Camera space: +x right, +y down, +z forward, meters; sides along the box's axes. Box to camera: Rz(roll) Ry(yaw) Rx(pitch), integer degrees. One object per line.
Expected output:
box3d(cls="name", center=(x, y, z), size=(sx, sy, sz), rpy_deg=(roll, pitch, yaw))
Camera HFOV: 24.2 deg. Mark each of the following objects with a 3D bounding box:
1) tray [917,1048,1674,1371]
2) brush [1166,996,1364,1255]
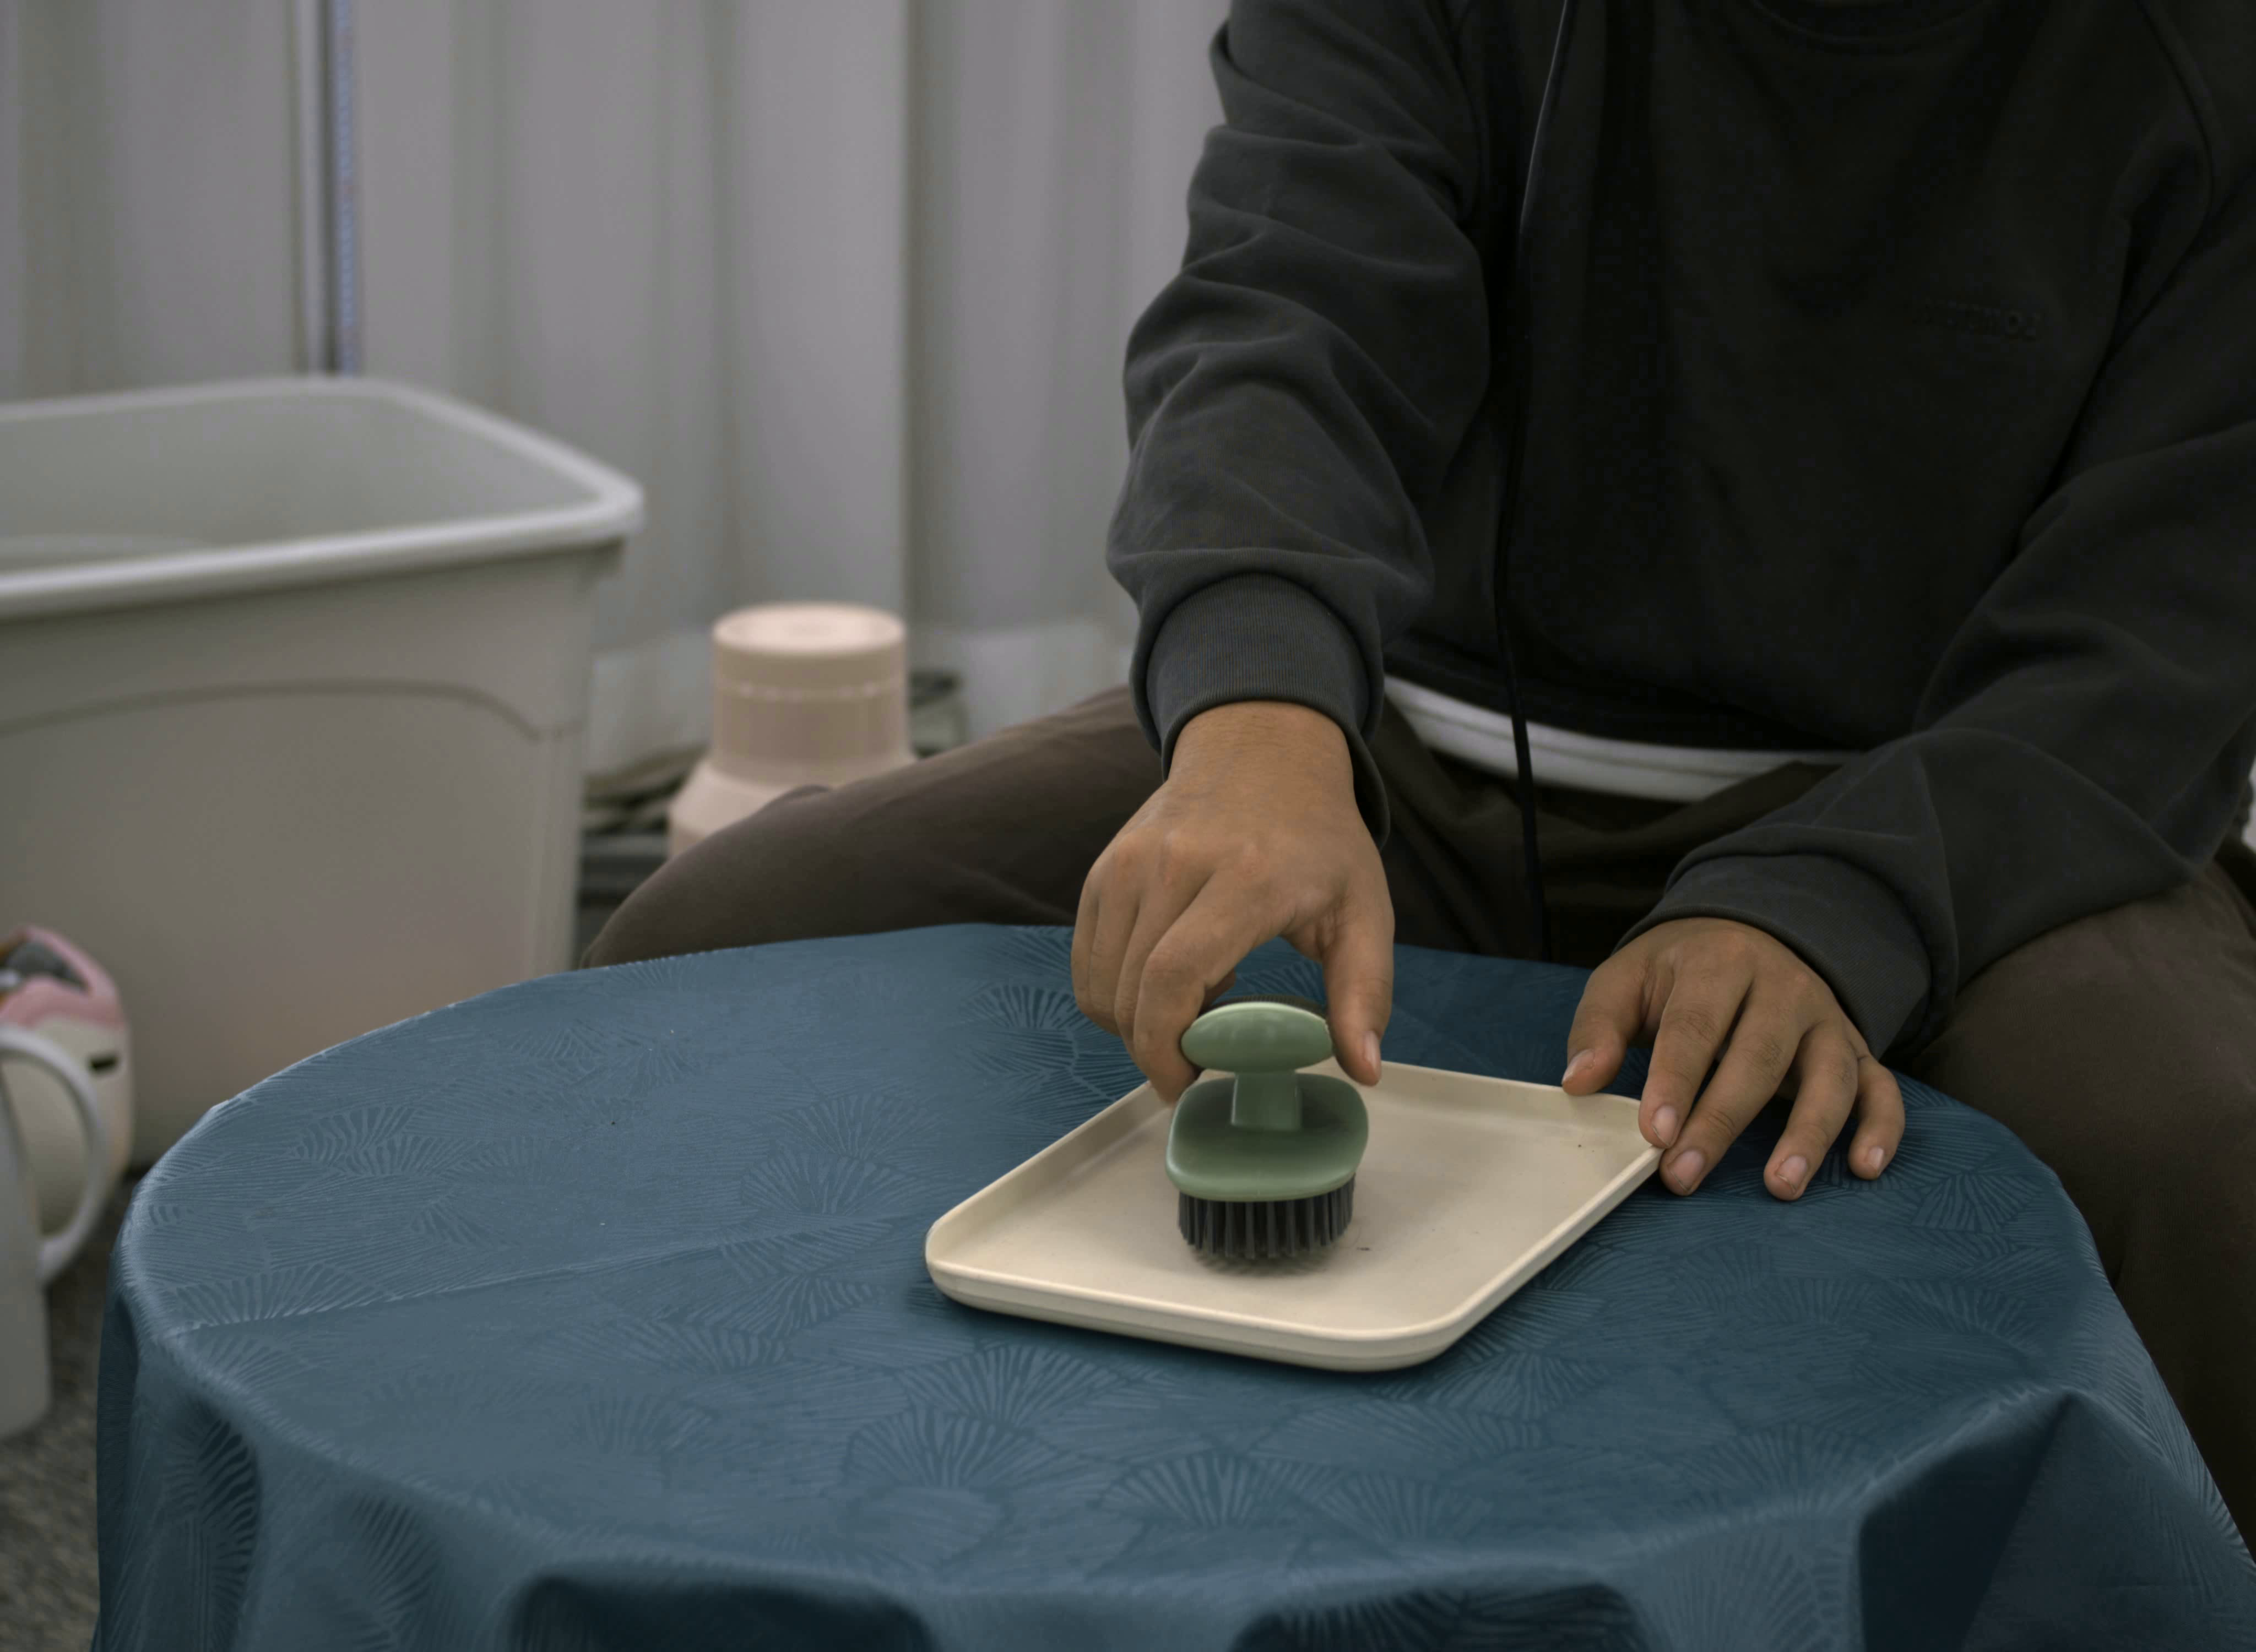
box3d(cls="tray", center=(0.054, 0.113, 1.592), size=(0.169, 0.017, 0.240), rpy_deg=(8, 17, 24))
box3d(cls="brush", center=(0.041, 0.088, 1.587), size=(0.059, 0.076, 0.123), rpy_deg=(-2, 0, 3))
